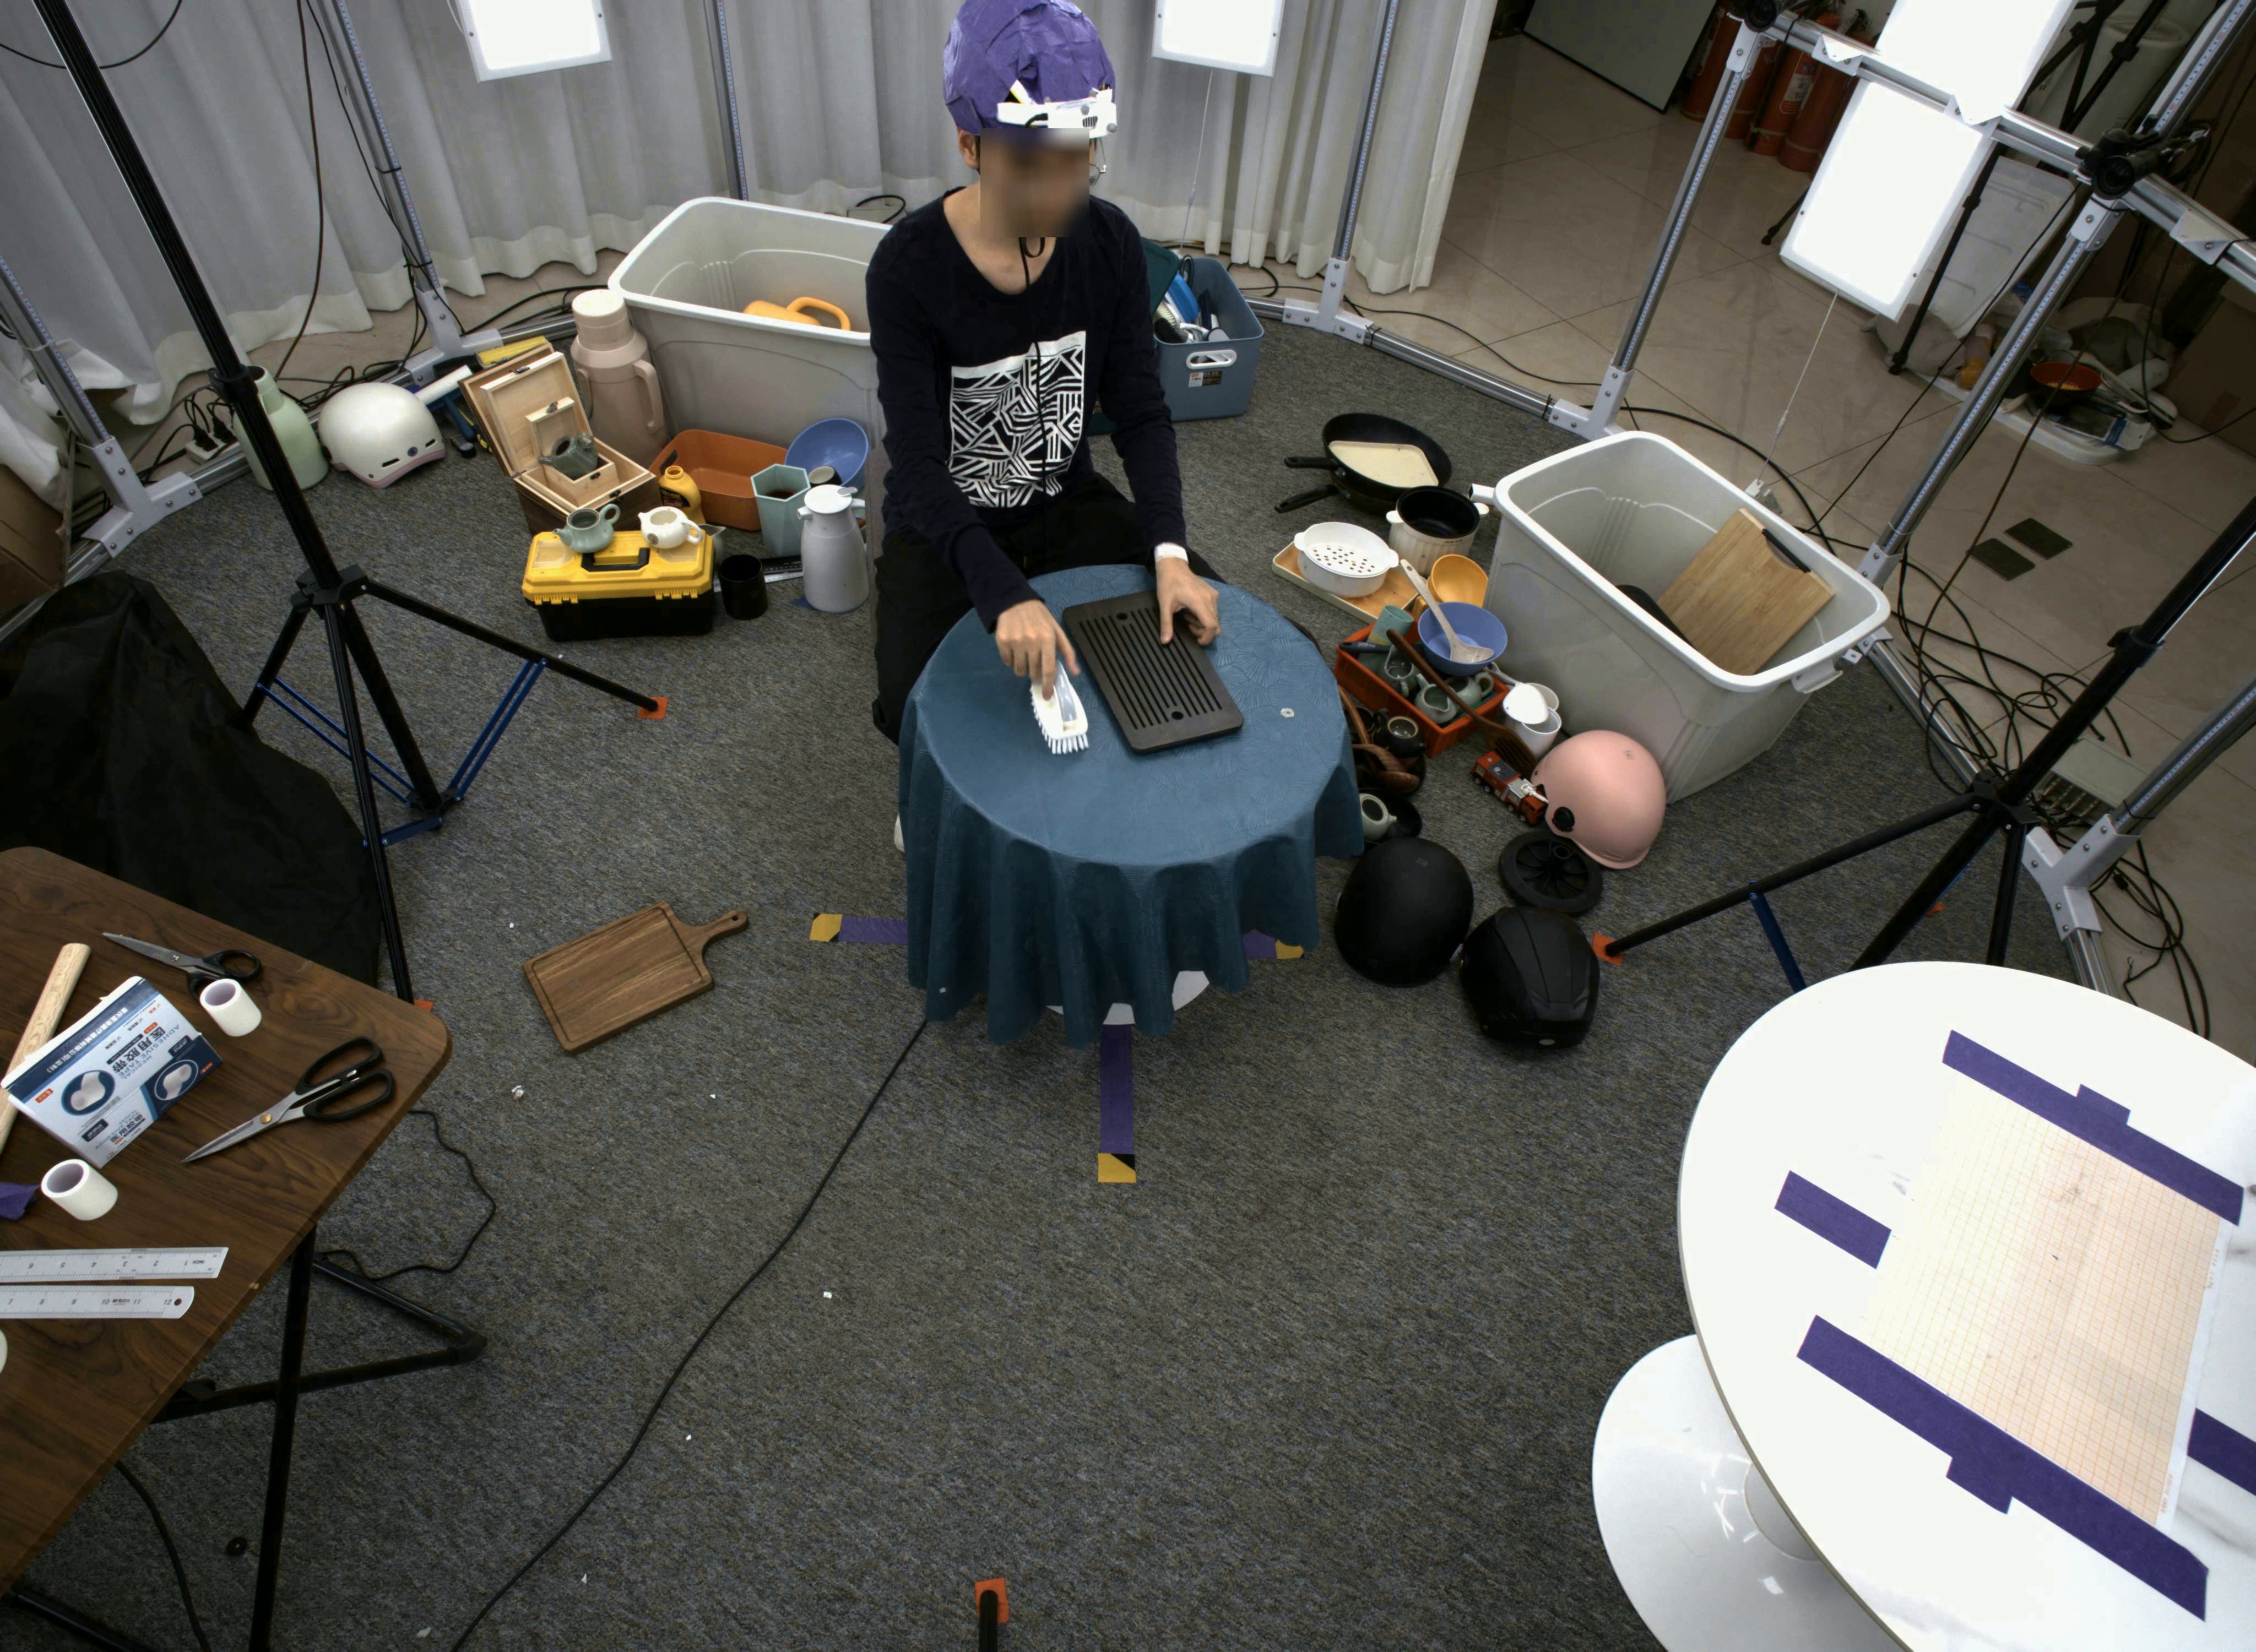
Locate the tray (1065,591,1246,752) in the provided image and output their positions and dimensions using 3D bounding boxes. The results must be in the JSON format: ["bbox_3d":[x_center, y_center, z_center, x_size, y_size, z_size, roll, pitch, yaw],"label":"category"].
[{"bbox_3d":[0.035,-0.228,1.857,0.170,0.018,0.313,-14,51,-15],"label":"tray"}]

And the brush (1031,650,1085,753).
[{"bbox_3d":[-0.105,-0.190,1.768,0.061,0.092,0.180,-13,49,-11],"label":"brush"}]
